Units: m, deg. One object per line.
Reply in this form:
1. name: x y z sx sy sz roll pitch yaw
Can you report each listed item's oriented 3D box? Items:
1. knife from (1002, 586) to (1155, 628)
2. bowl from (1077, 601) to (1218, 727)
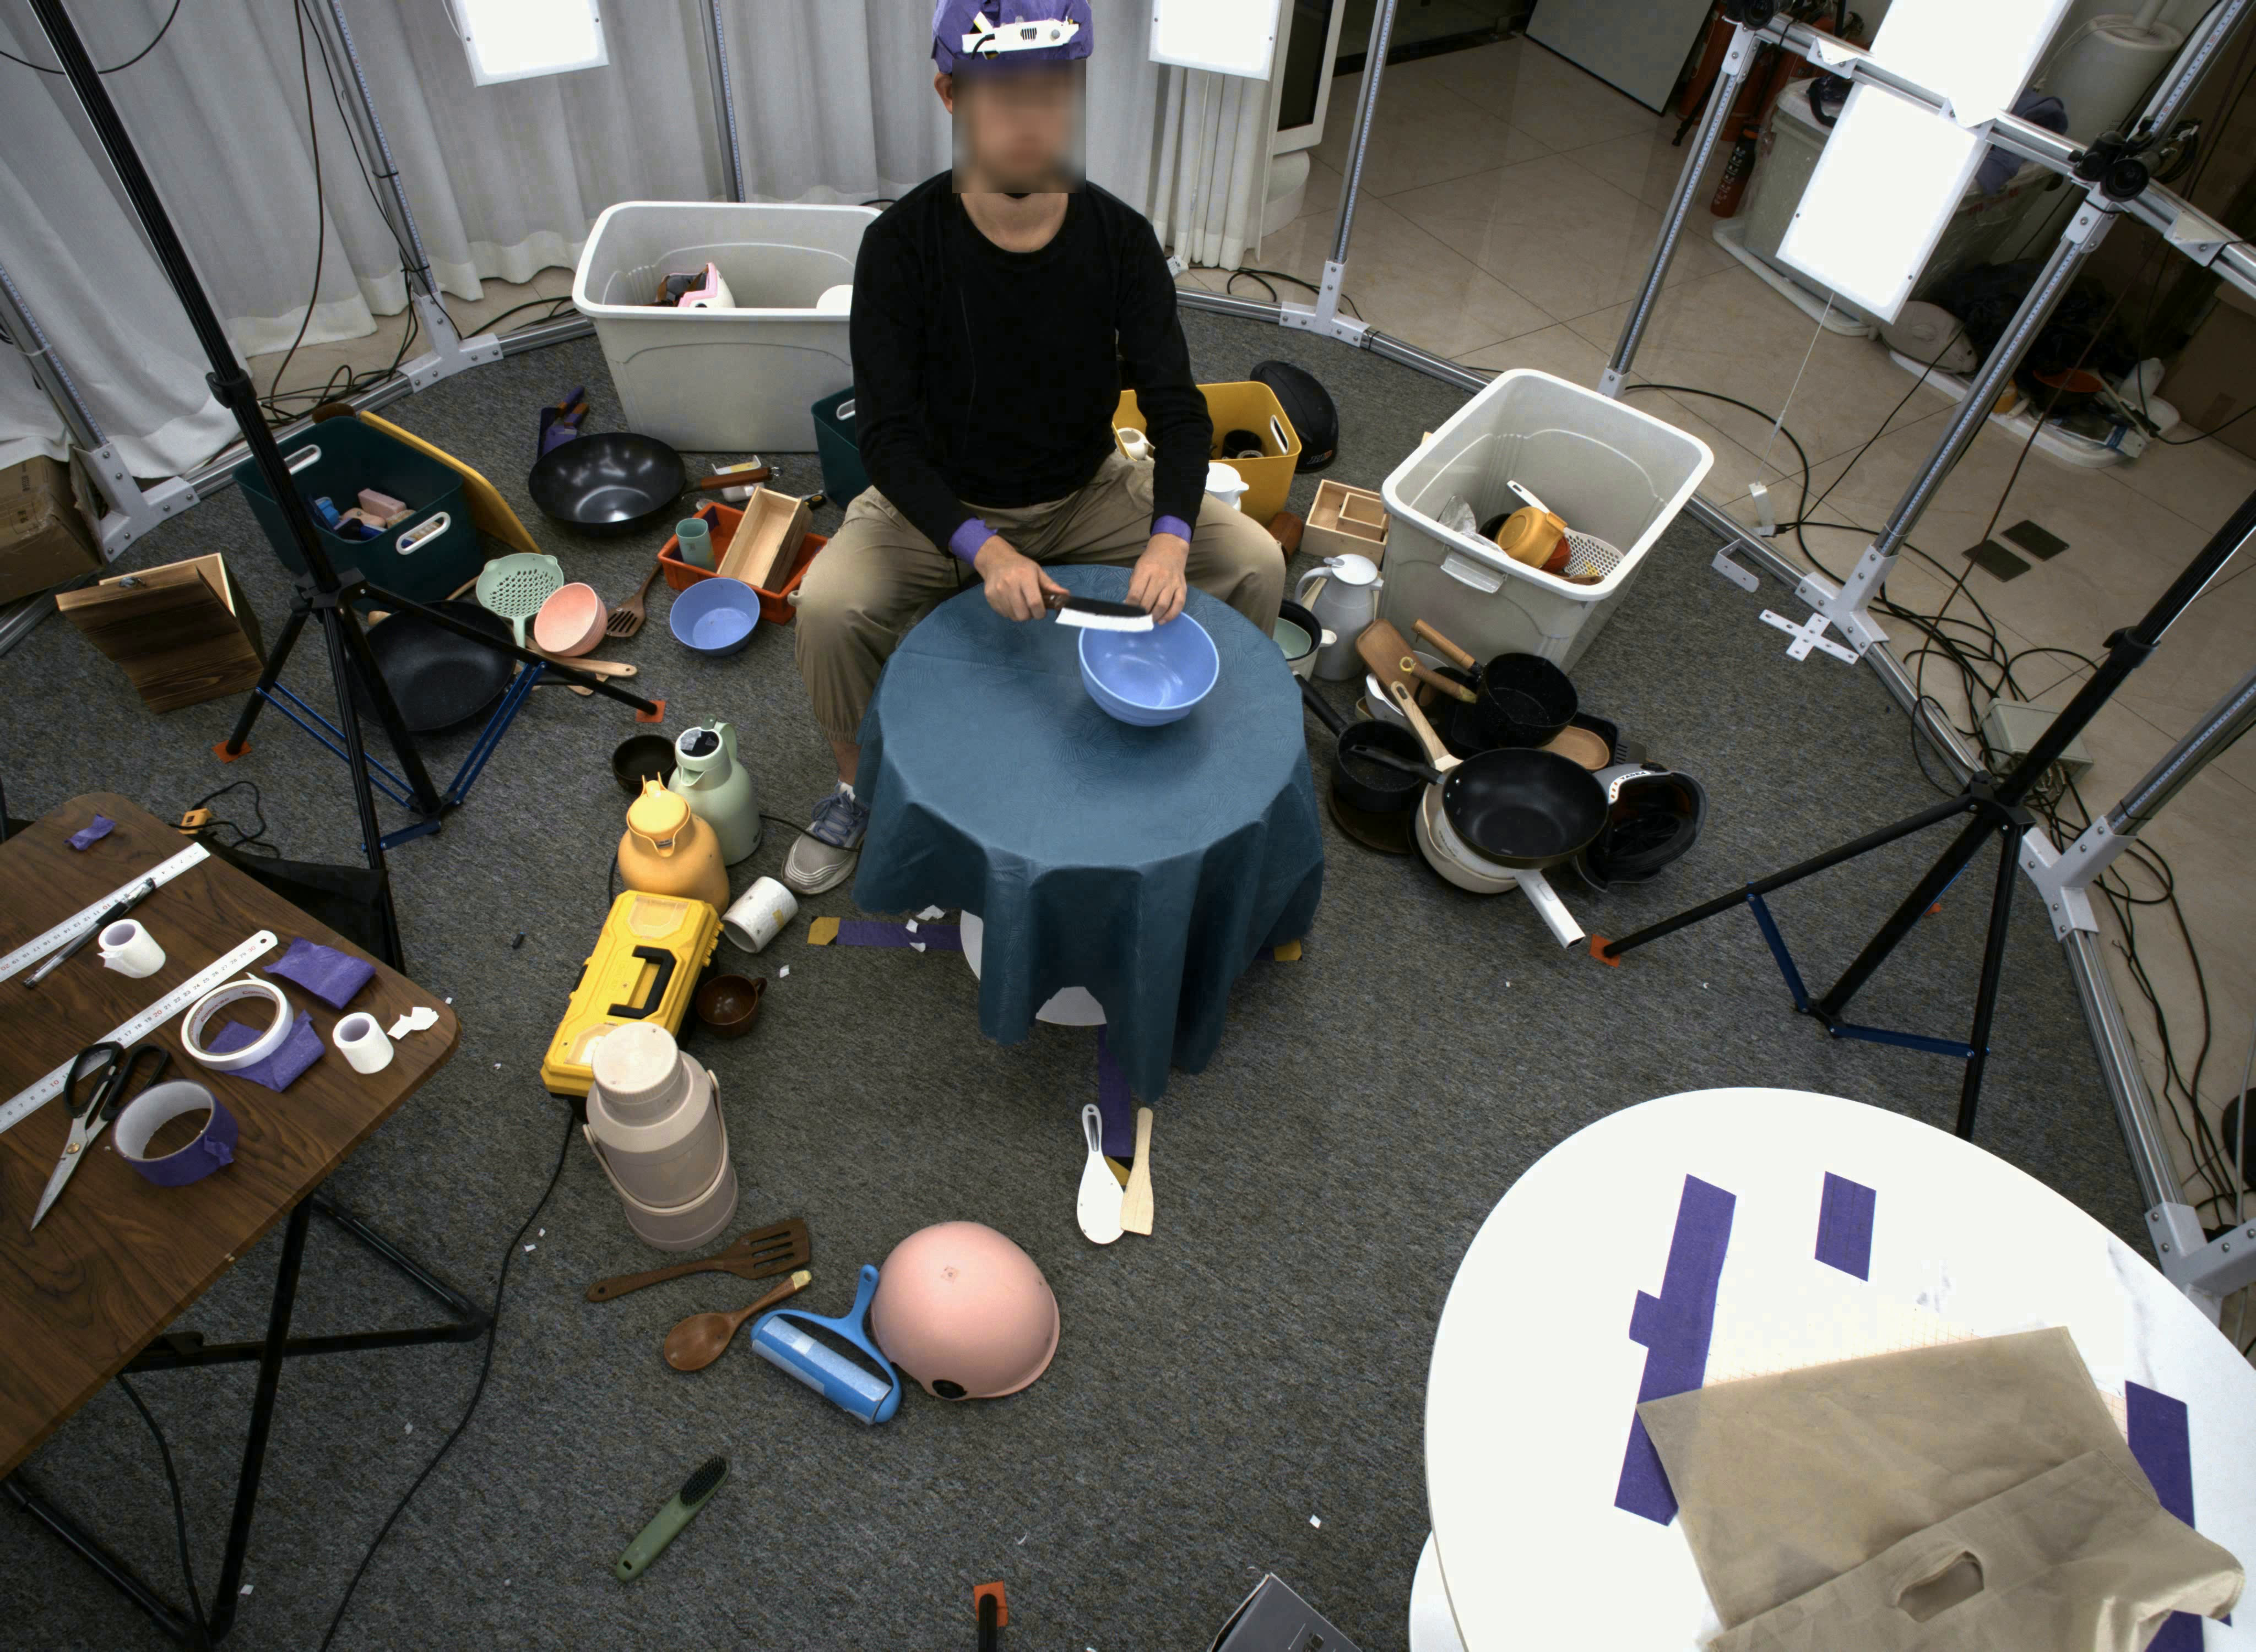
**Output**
1. knife: -0.071 -0.303 1.776 0.292 0.019 0.050 18 76 39
2. bowl: 0.019 -0.210 1.784 0.196 0.093 0.201 6 53 -9
